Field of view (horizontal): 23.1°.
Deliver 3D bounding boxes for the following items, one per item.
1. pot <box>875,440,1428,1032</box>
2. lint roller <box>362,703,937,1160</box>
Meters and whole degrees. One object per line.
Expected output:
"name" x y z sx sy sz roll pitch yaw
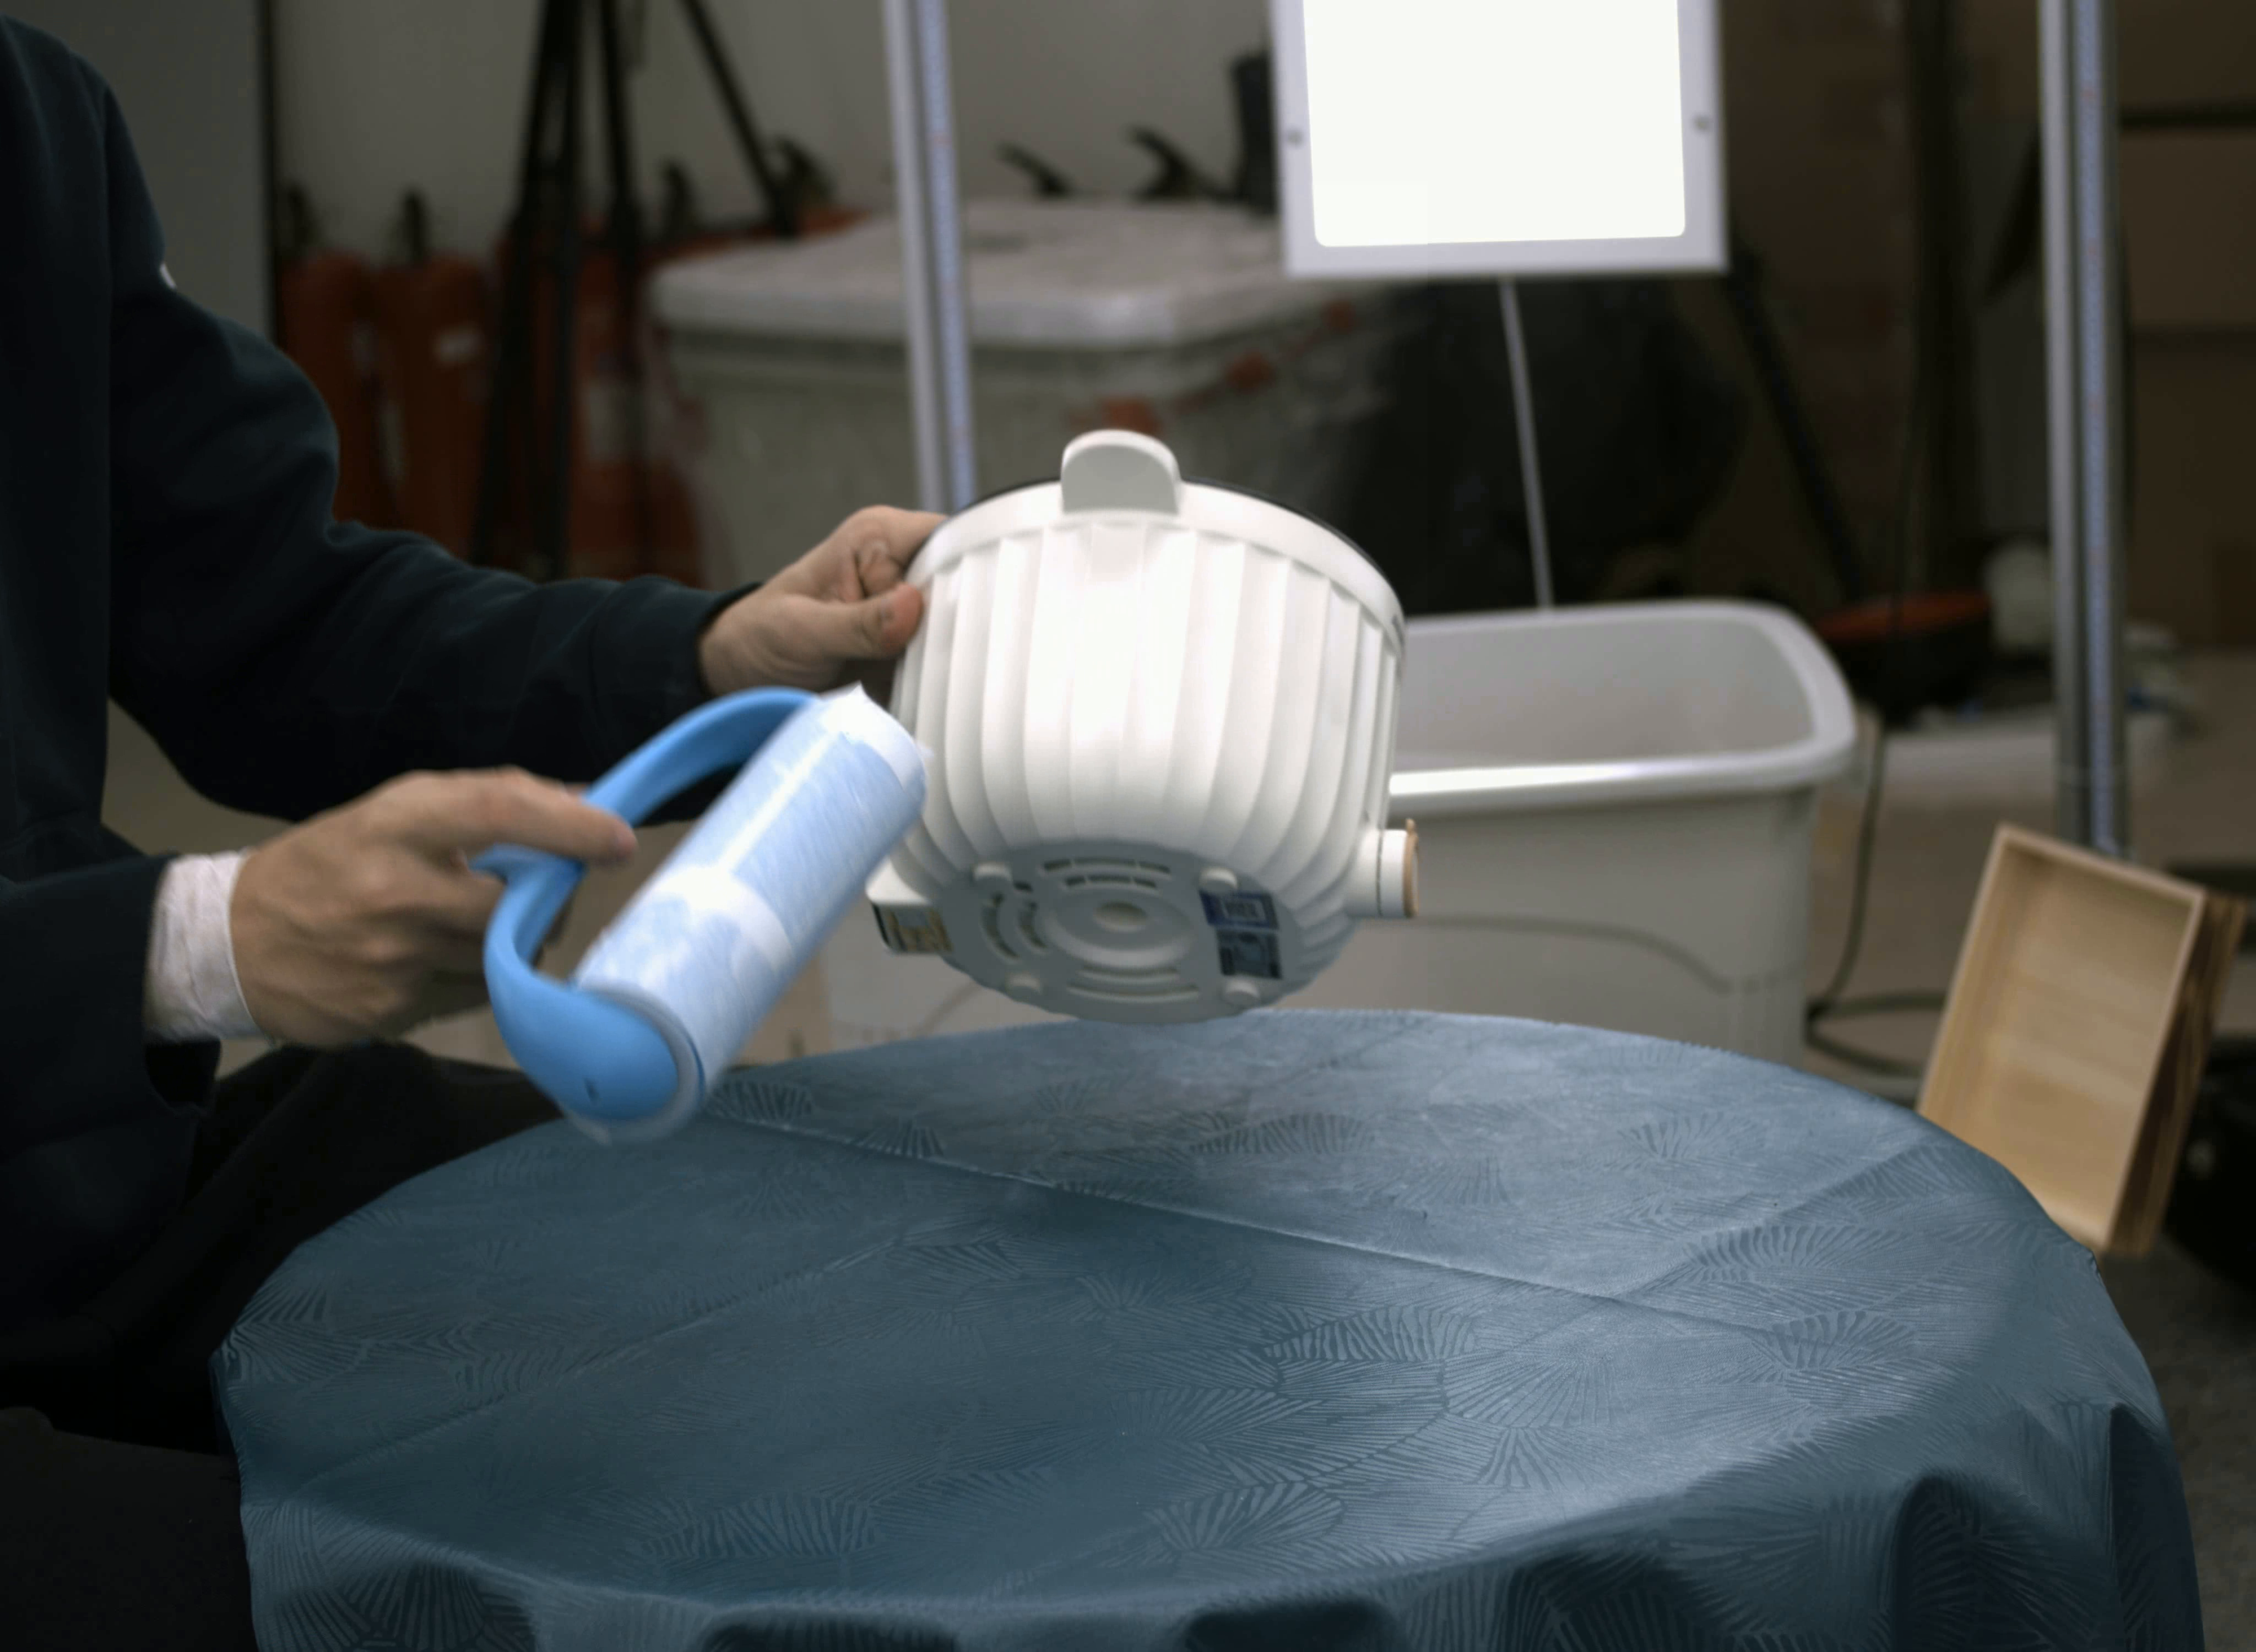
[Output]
"pot" 0.011 -0.016 1.930 0.191 0.142 0.240 -2 -29 9
"lint roller" -0.169 0.039 1.712 0.183 0.068 0.226 -10 26 22
